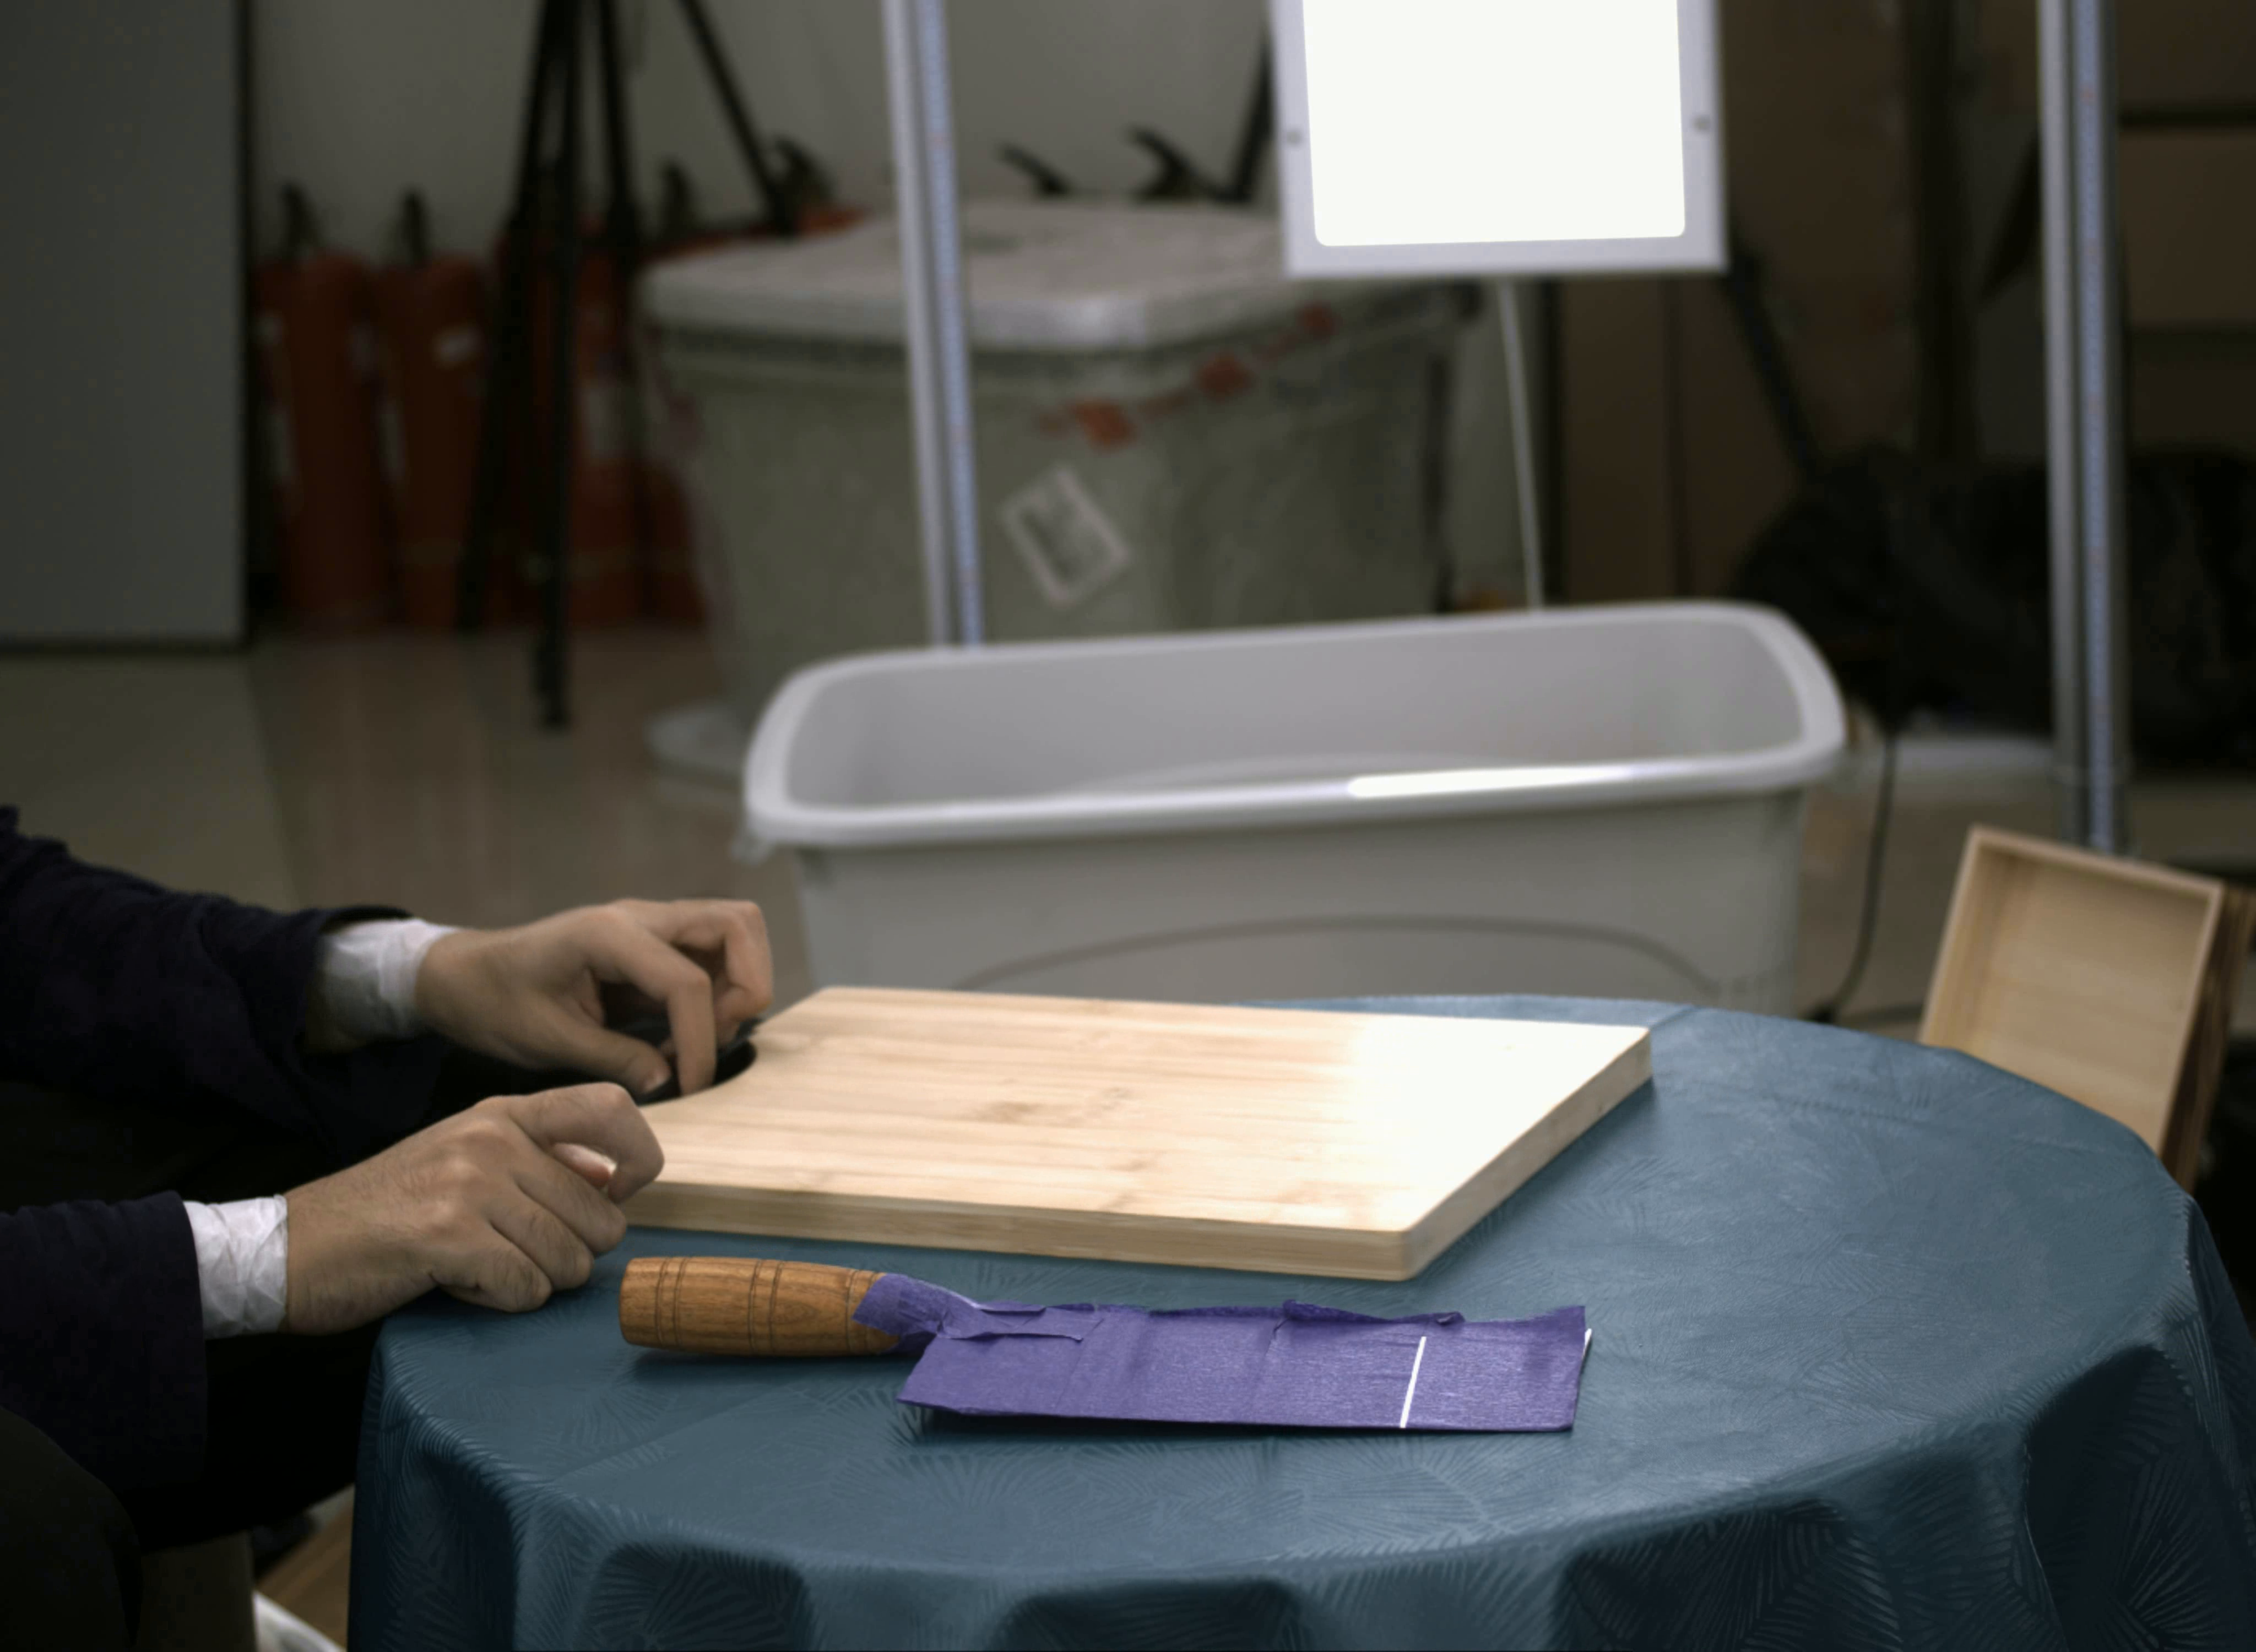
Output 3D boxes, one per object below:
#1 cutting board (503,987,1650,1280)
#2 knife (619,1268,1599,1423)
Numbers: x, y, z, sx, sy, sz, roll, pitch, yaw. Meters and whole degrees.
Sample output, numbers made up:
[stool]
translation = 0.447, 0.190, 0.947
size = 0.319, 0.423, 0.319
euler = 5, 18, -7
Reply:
[cutting board]
translation = -0.015, 0.106, 1.961
size = 0.354, 0.023, 0.245
euler = 1, 15, 26
[knife]
translation = -0.012, 0.161, 1.709
size = 0.317, 0.032, 0.102
euler = -2, 14, 13
